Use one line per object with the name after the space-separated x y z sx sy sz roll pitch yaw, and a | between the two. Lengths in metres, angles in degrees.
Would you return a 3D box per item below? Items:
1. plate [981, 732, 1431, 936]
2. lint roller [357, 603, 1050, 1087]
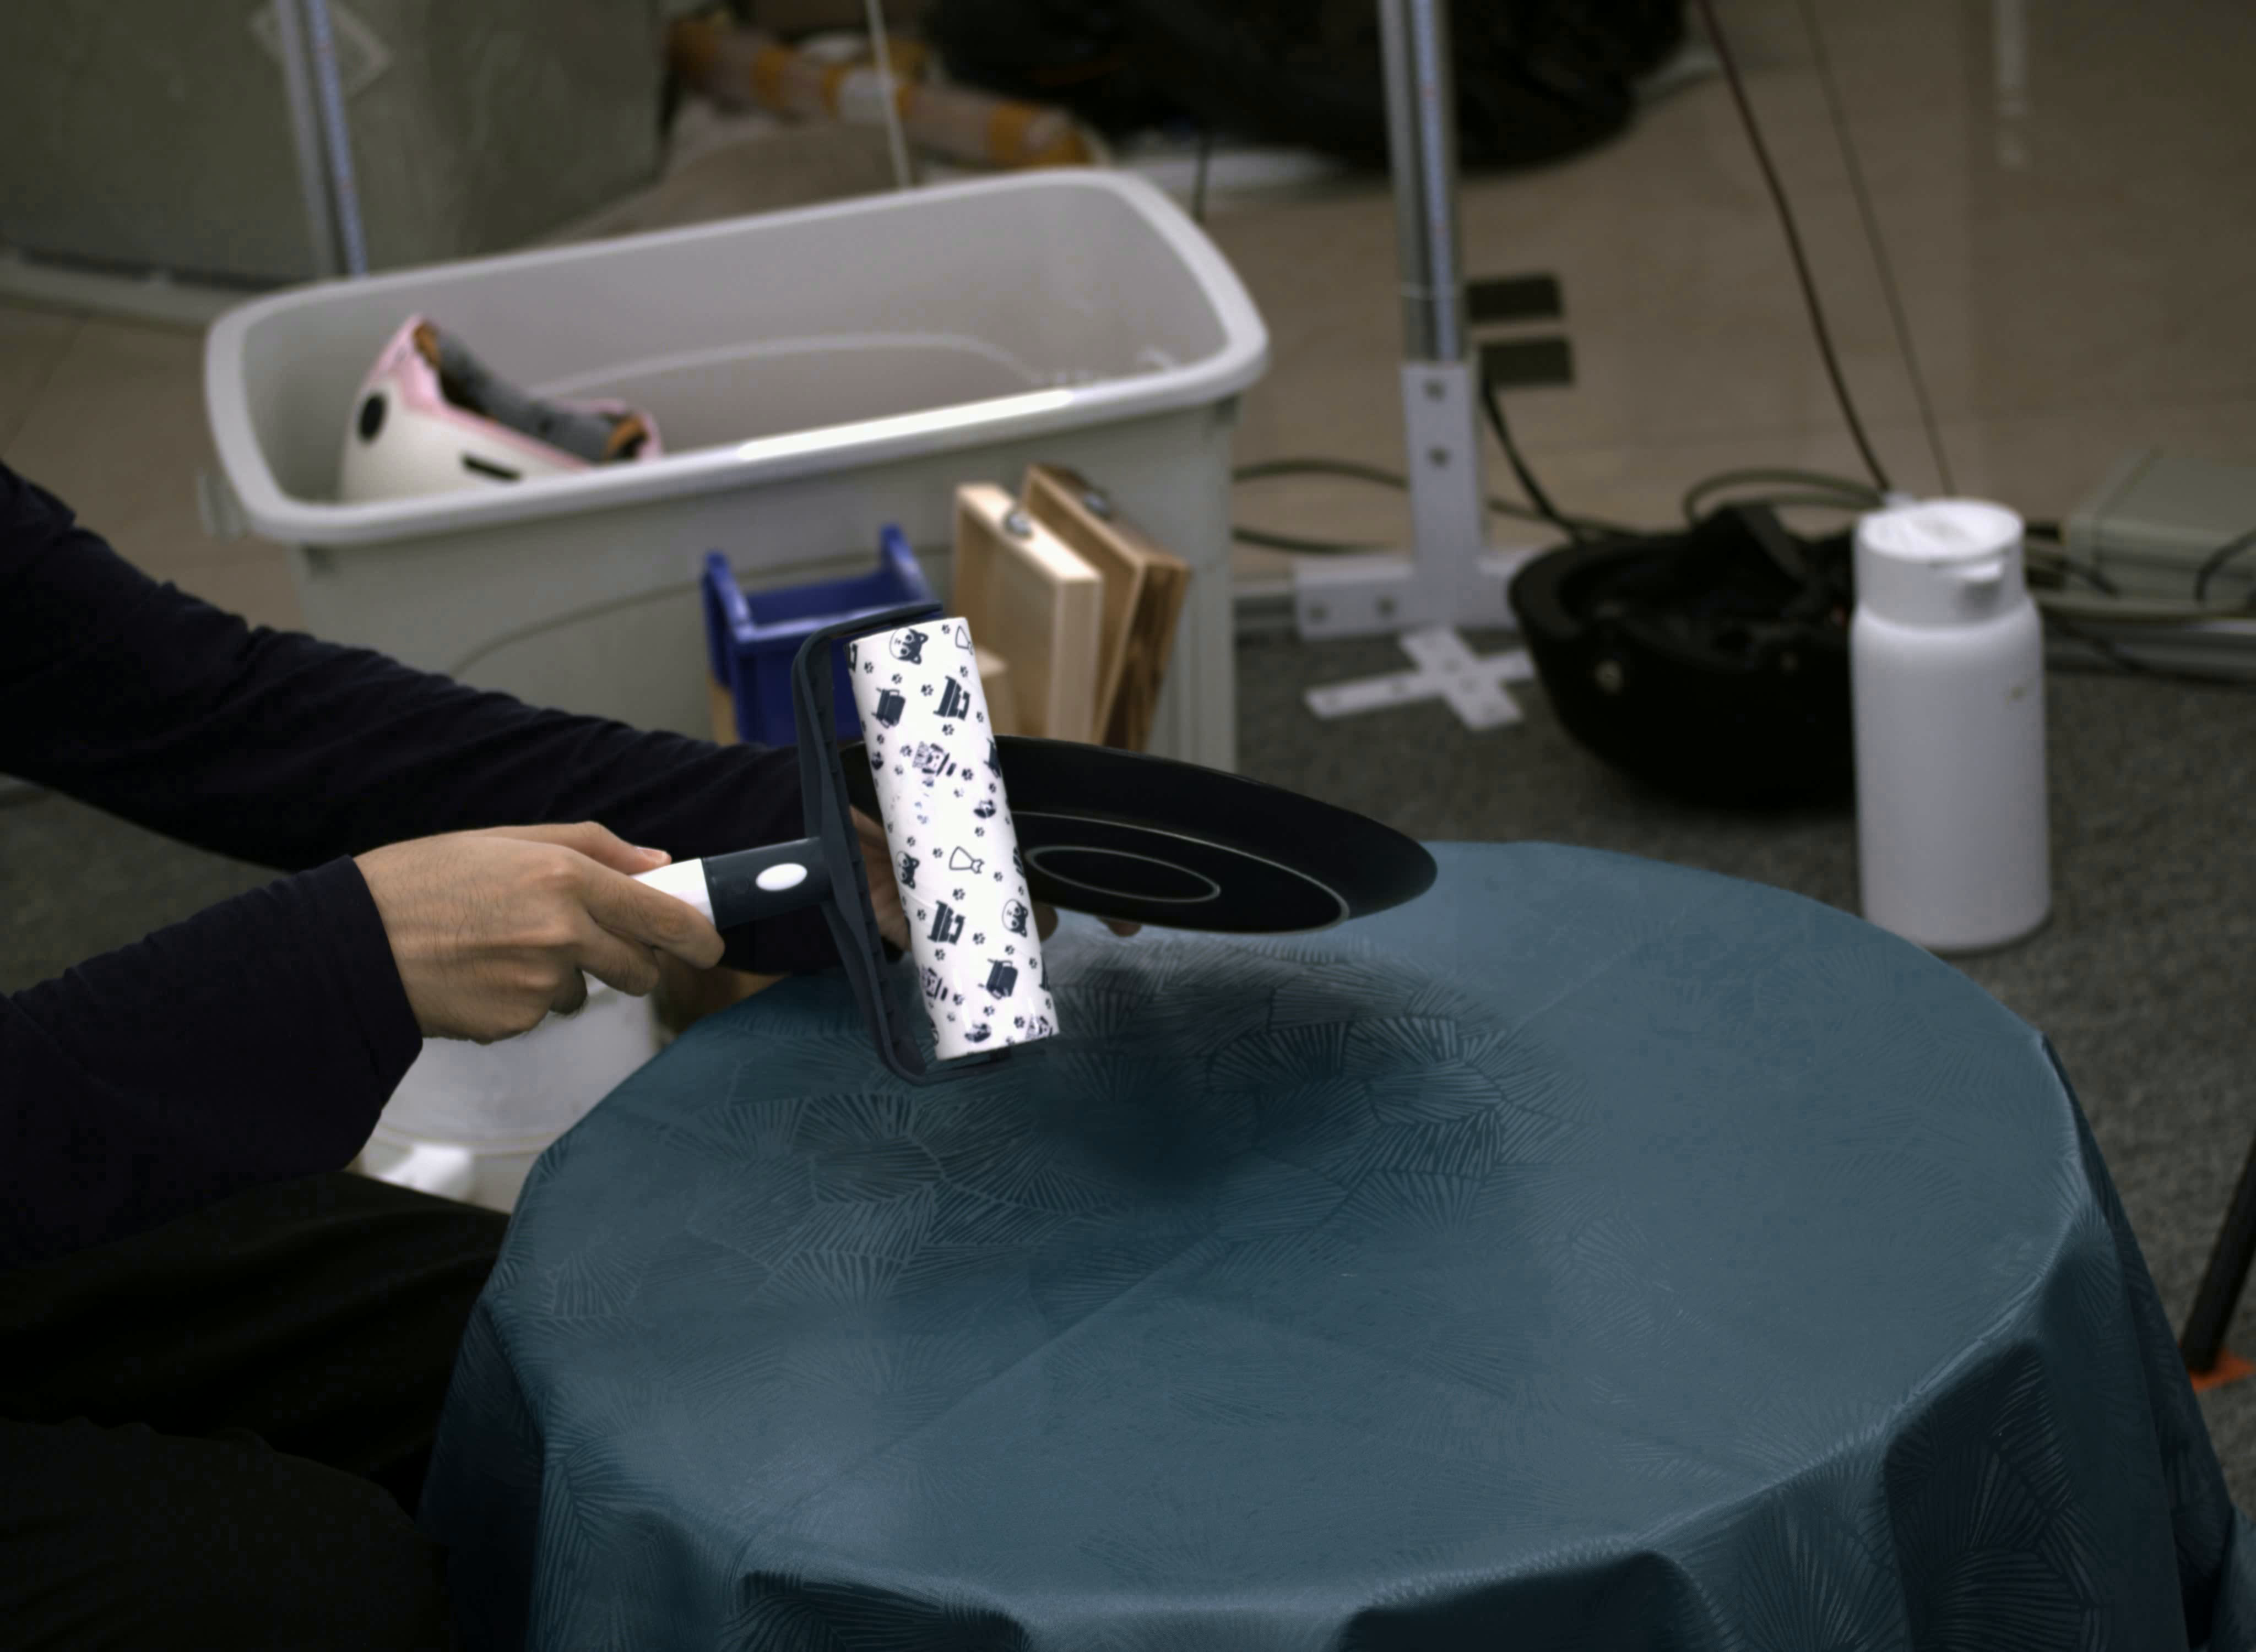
-0.002 0.008 2.220 0.244 0.023 0.246 10 -12 2 | plate
-0.164 0.029 2.097 0.246 0.177 0.050 -13 2 -4 | lint roller
